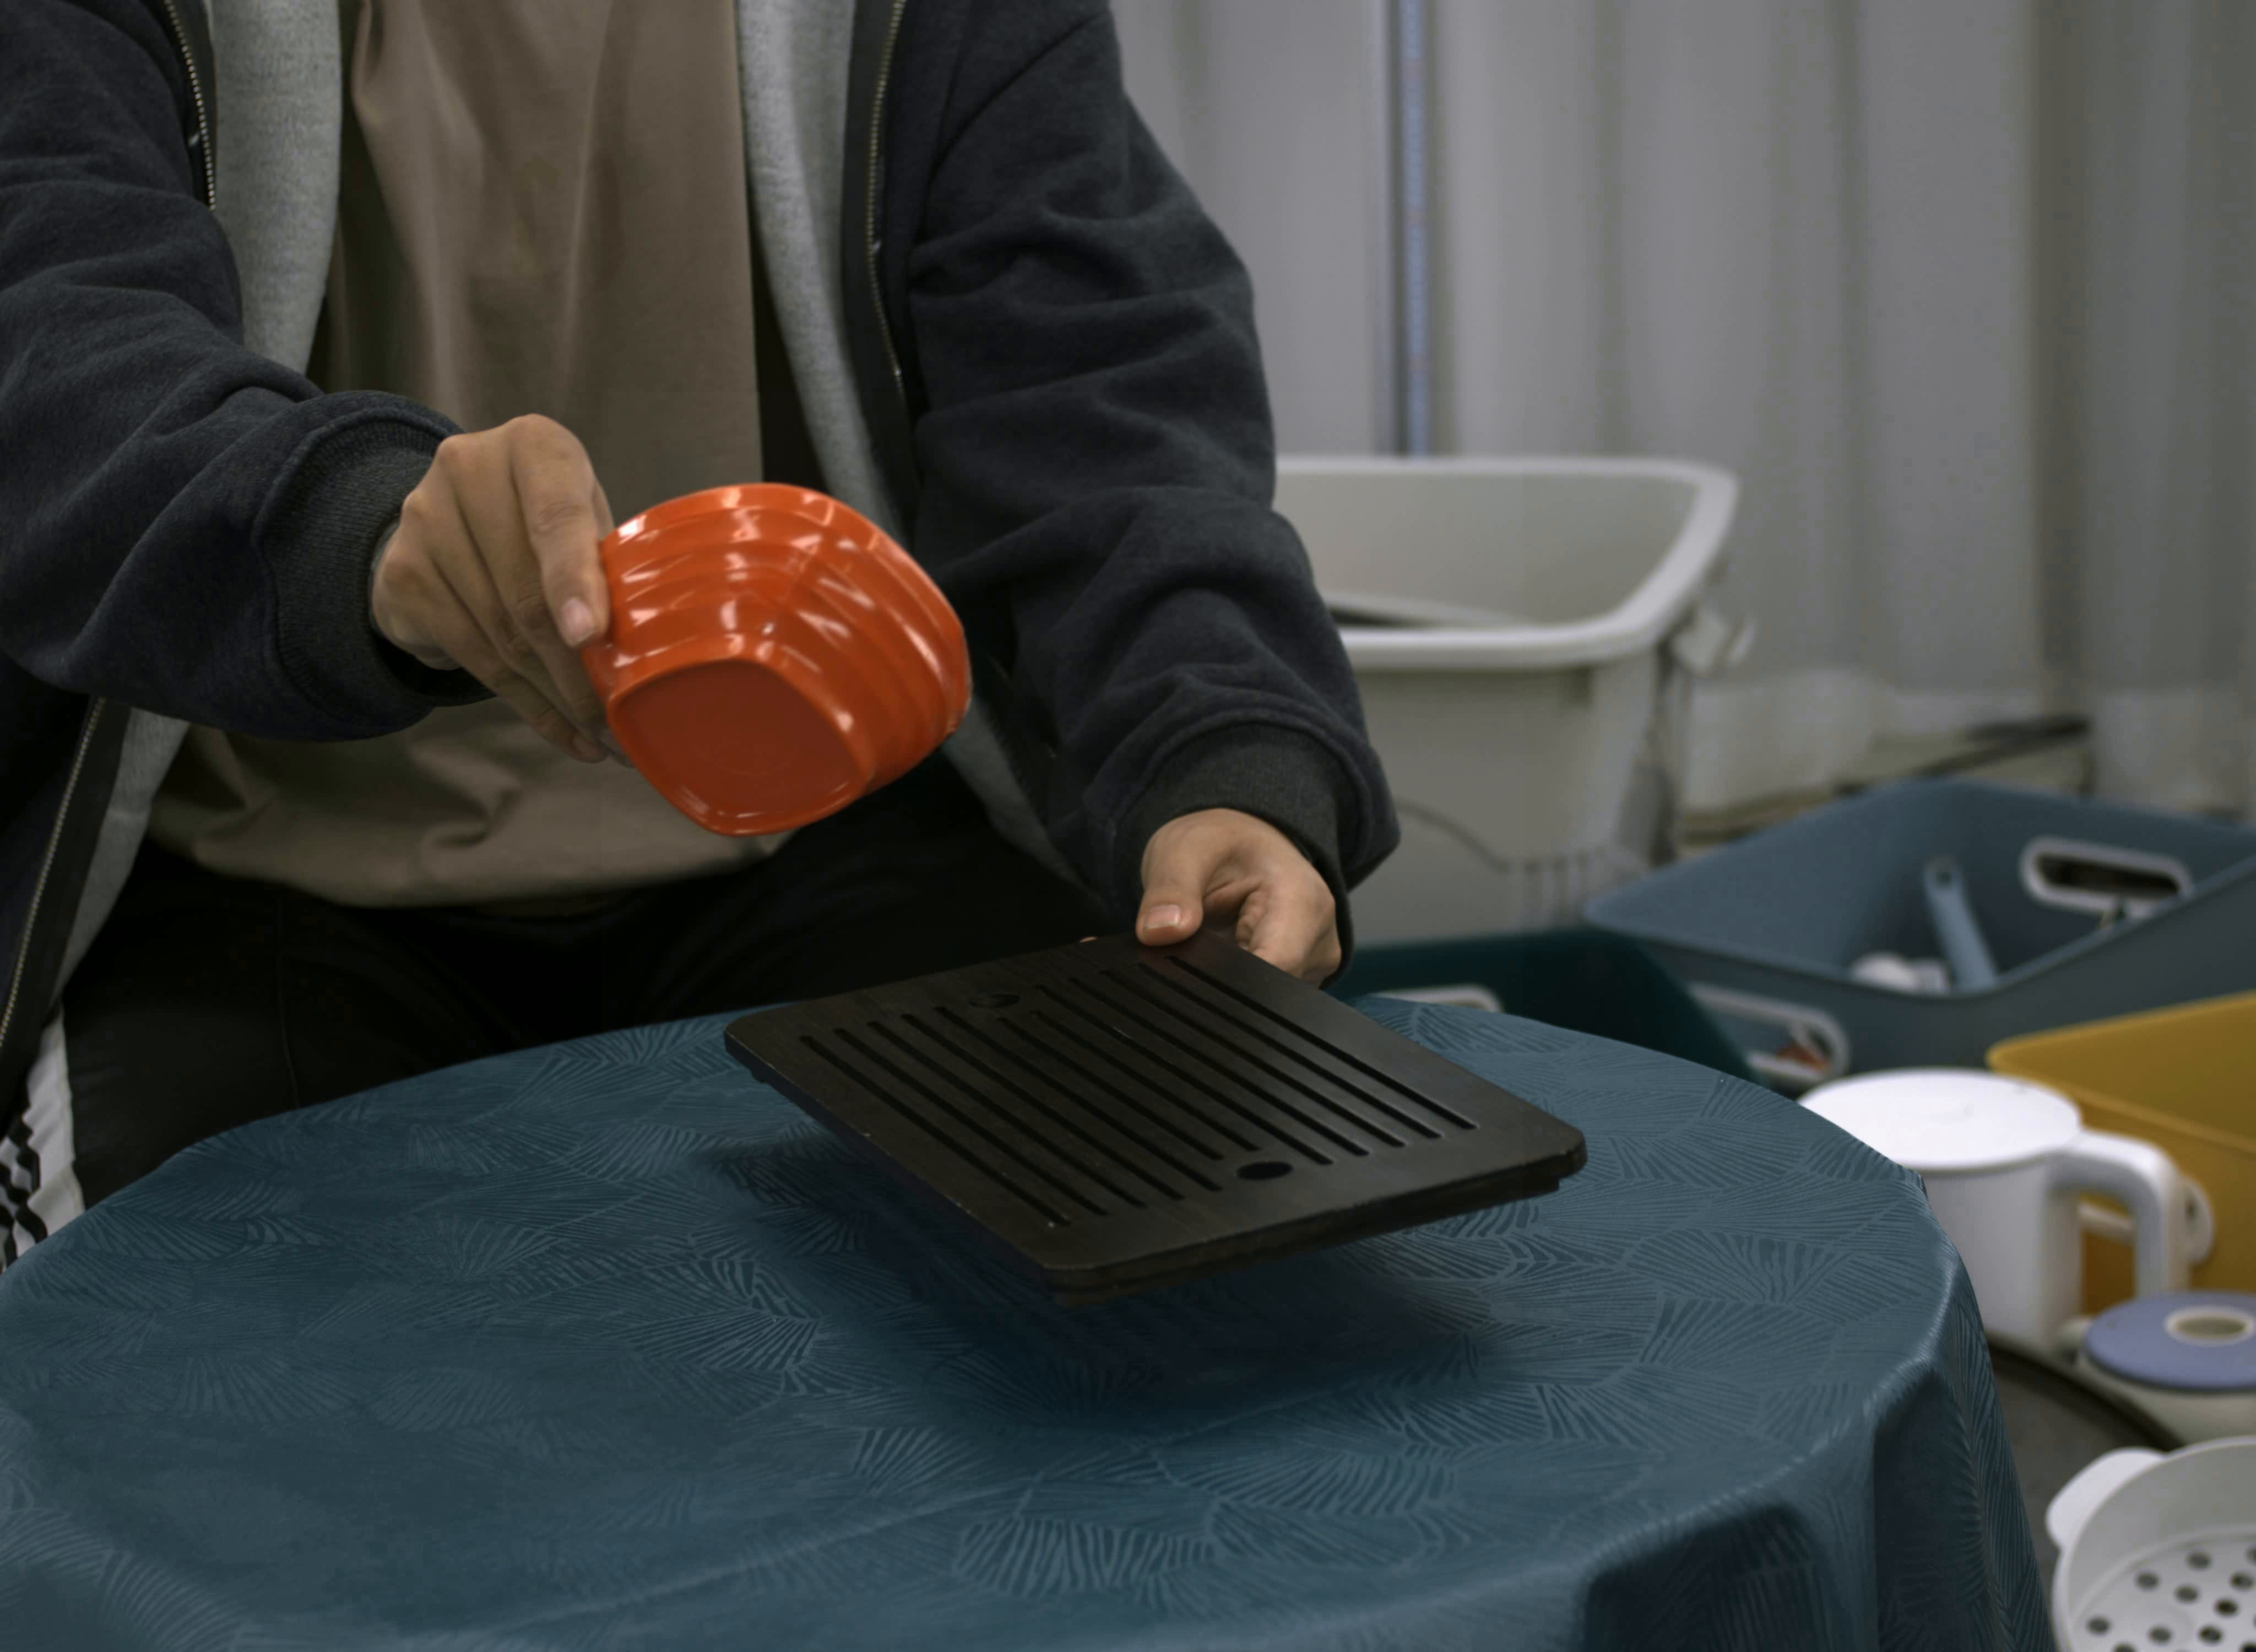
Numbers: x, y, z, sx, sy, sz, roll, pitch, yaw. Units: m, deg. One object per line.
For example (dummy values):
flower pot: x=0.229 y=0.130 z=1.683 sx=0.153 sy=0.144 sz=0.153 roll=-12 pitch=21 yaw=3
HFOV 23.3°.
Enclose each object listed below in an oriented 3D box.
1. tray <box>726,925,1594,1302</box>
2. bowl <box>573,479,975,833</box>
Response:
tray: x=0.002 y=0.084 z=1.665 sx=0.169 sy=0.018 sz=0.308 roll=-12 pitch=15 yaw=-20
bowl: x=-0.107 y=-0.040 z=1.563 sx=0.119 sy=0.117 sz=0.052 roll=2 pitch=47 yaw=17
